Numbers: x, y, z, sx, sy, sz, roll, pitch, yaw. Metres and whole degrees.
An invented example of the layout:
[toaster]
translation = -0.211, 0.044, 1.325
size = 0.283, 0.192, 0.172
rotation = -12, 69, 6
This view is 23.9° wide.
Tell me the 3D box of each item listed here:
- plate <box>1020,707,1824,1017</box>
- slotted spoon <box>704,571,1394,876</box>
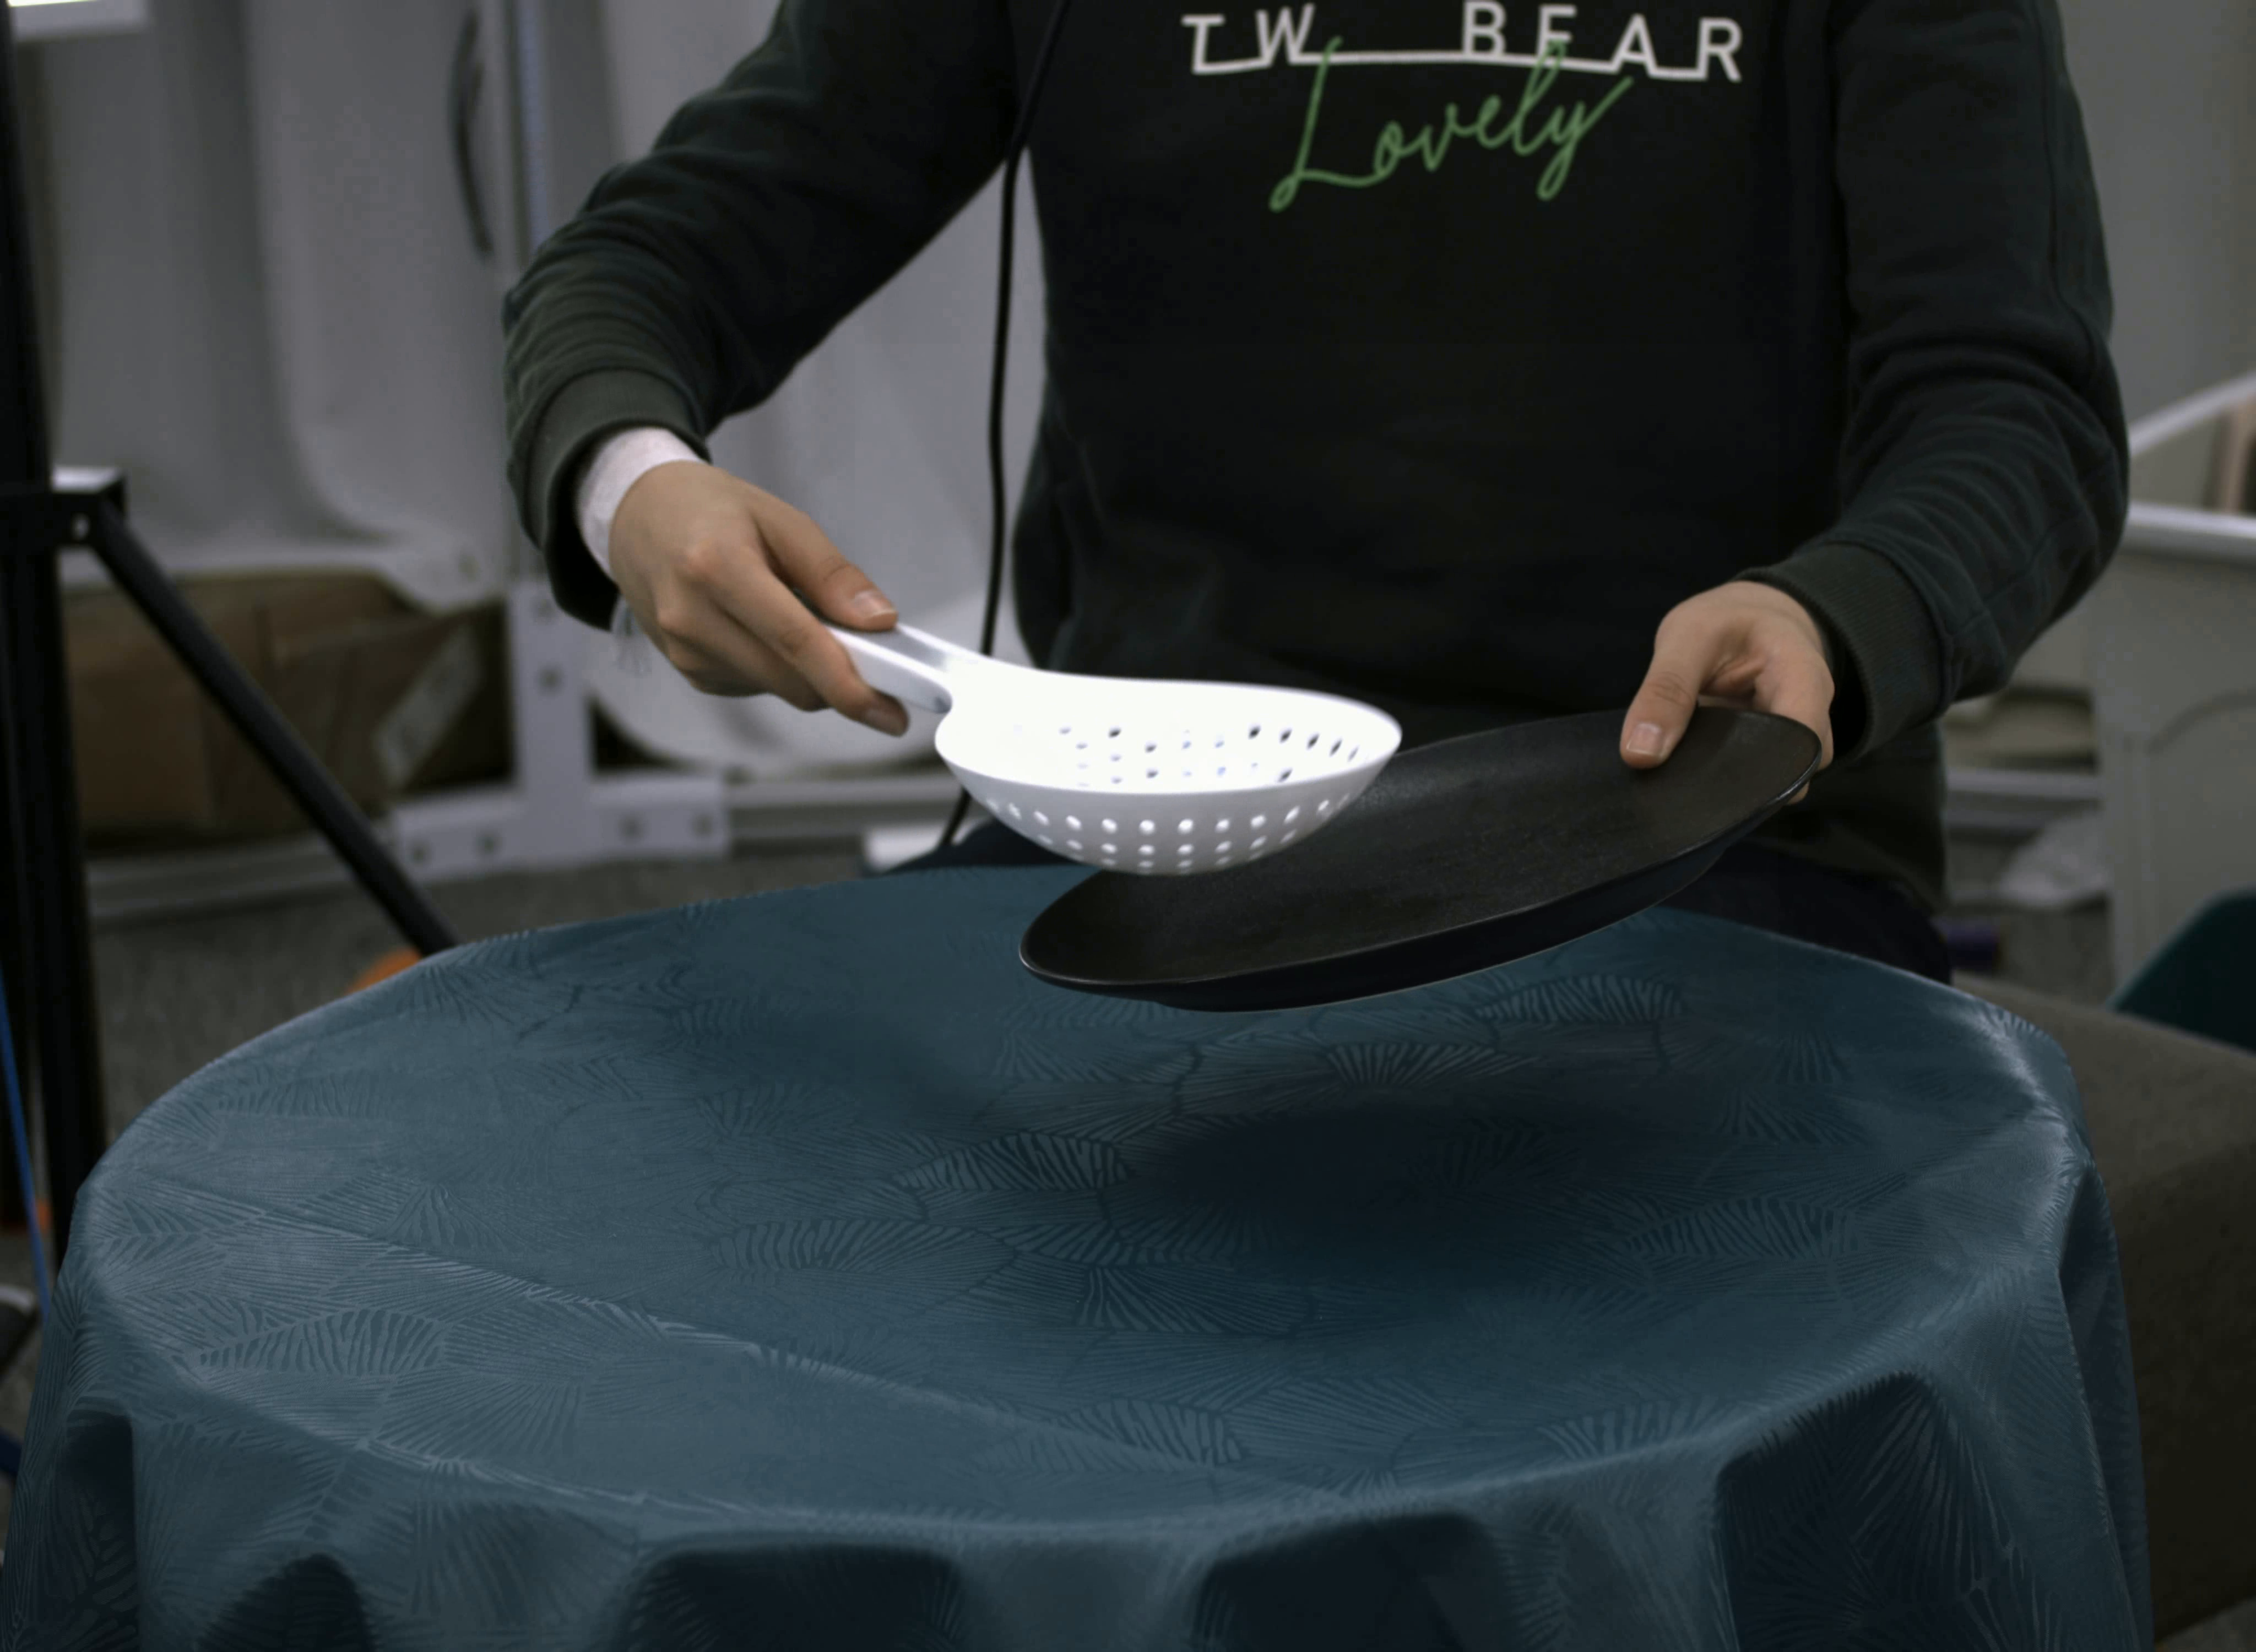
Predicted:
[plate]
translation = 0.088, 0.014, 1.561
size = 0.244, 0.023, 0.245
rotation = -16, 12, 2
[slotted spoon]
translation = -0.045, -0.041, 1.650
size = 0.133, 0.046, 0.357
rotation = -7, 20, -29
